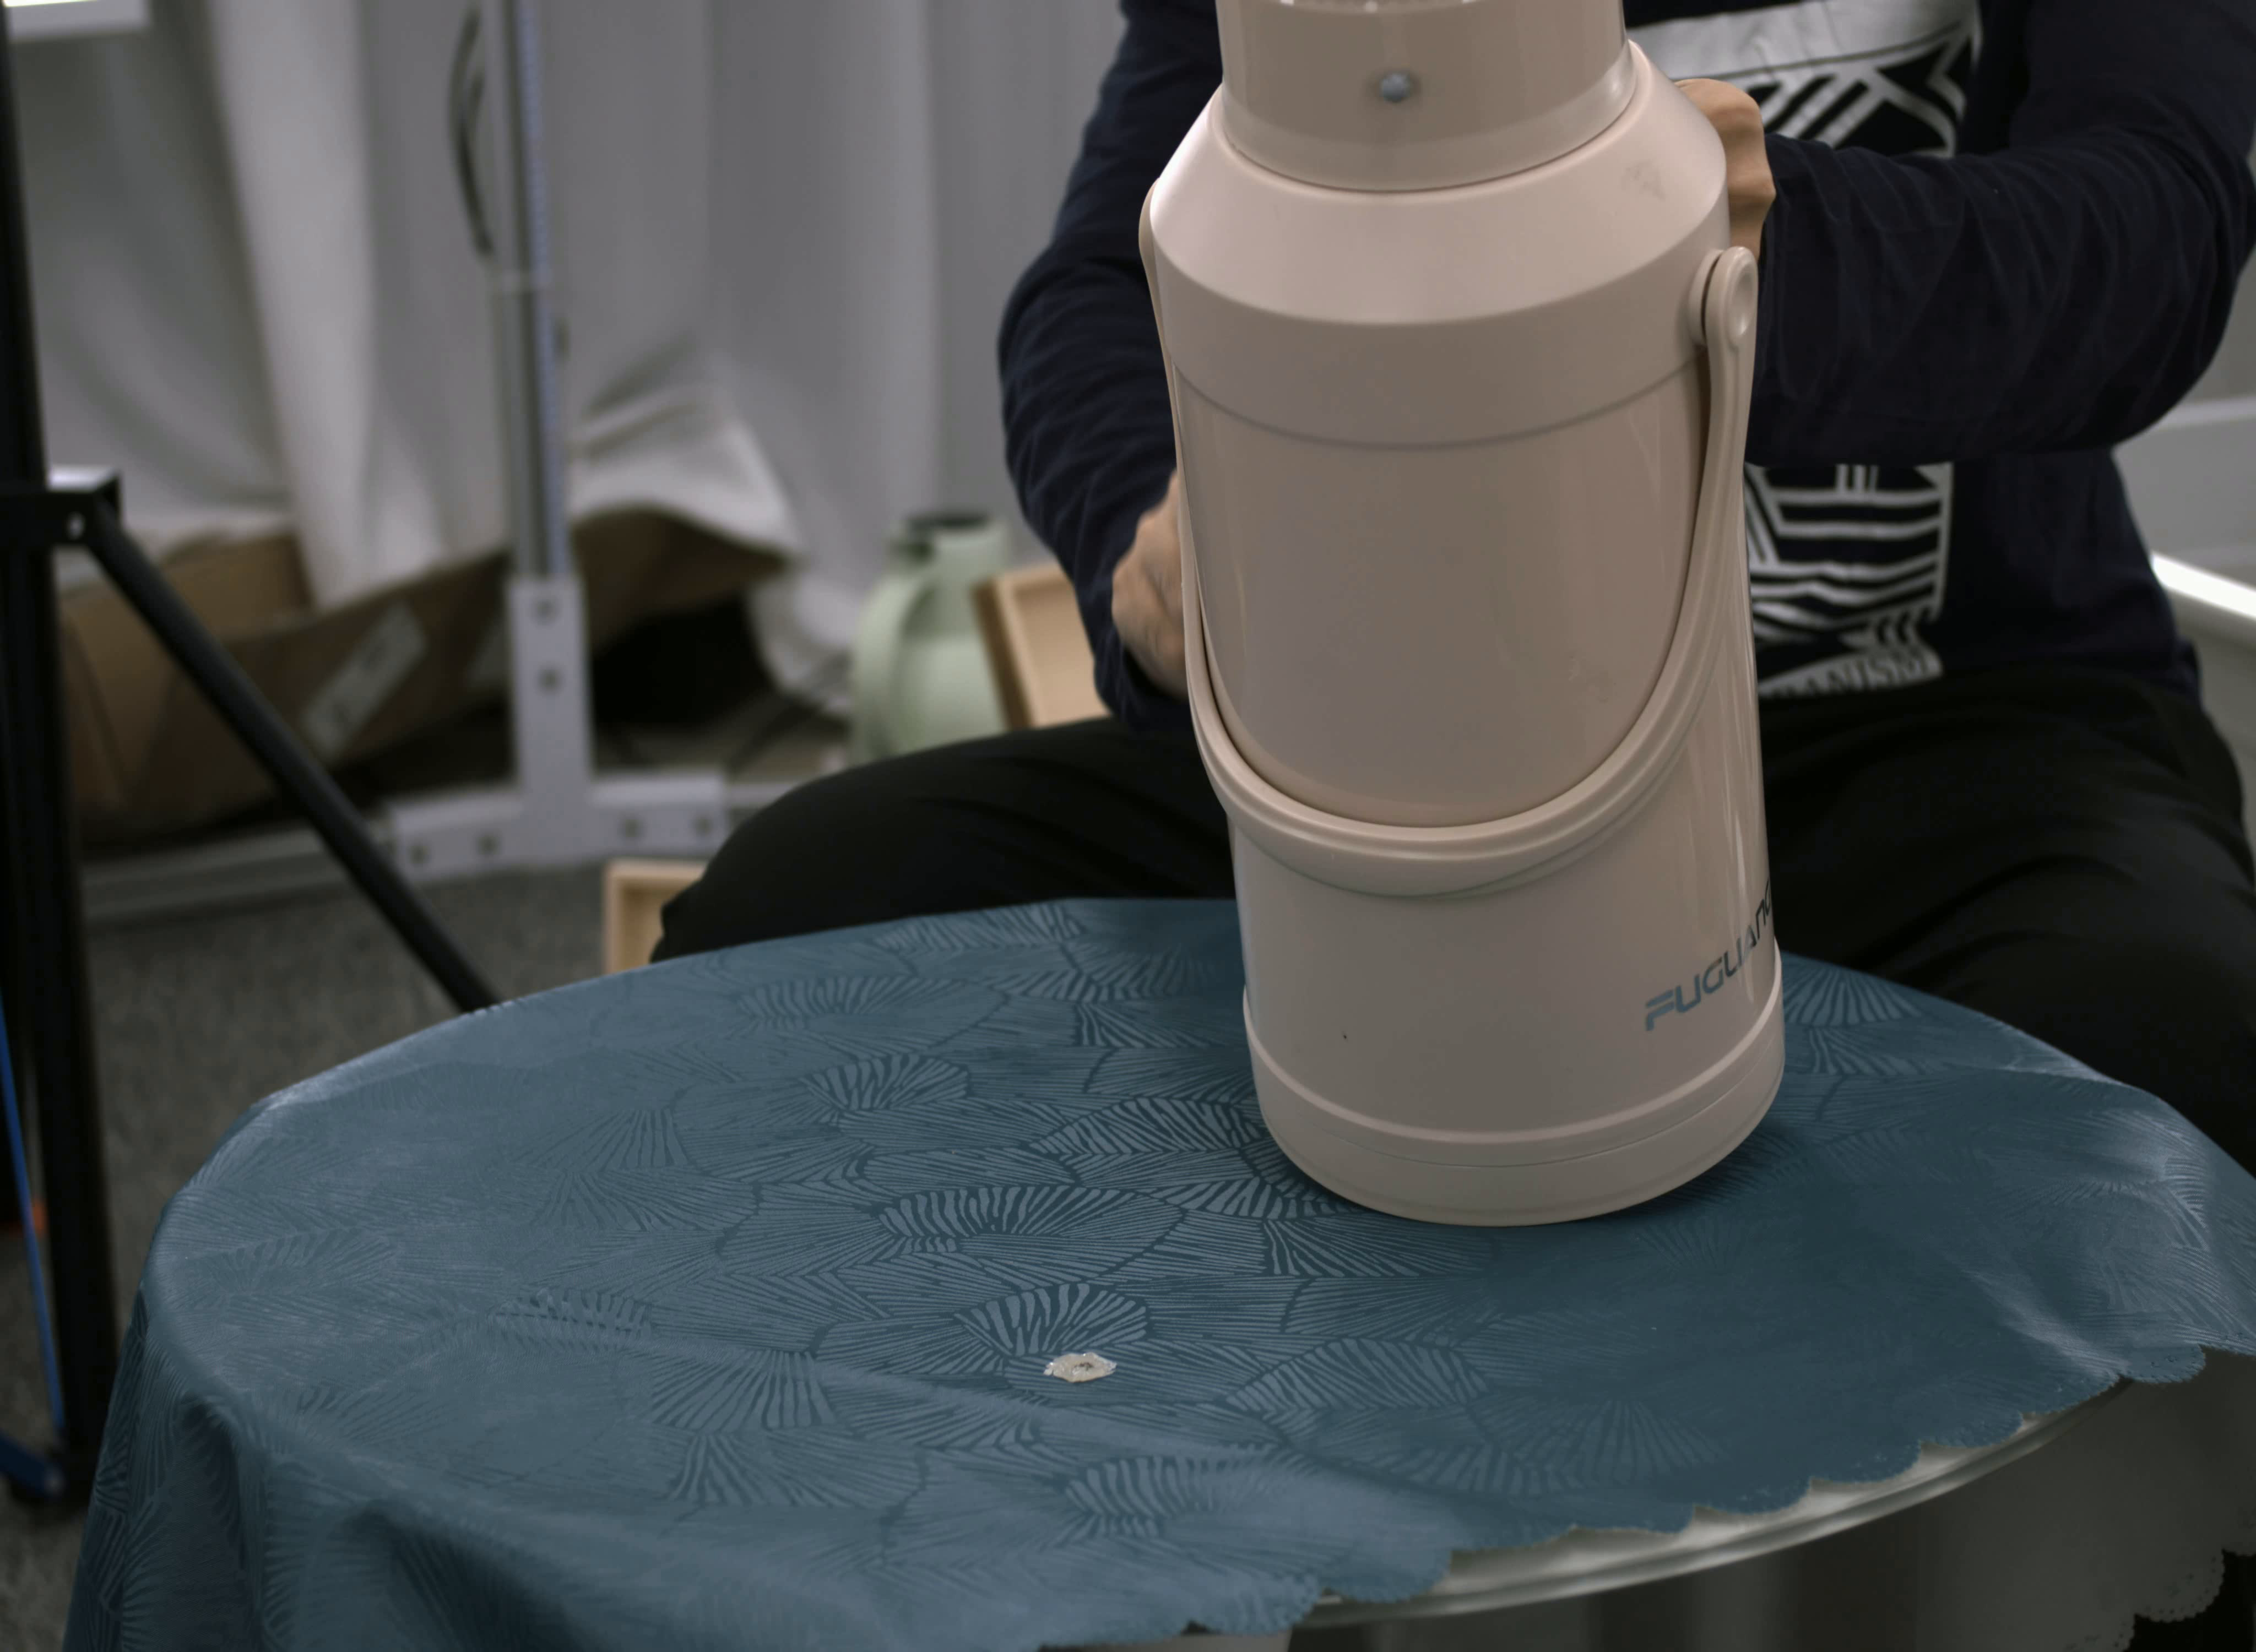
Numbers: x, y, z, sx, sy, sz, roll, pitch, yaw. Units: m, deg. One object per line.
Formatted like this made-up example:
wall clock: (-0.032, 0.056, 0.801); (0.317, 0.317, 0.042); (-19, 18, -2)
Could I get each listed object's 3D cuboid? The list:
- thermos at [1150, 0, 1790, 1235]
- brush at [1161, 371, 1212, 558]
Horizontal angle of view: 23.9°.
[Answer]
thermos: (0.104, -0.099, 1.485); (0.178, 0.403, 0.205); (9, 35, 27)
brush: (0.059, -0.093, 1.597); (0.083, 0.141, 0.057); (-33, 42, -5)
